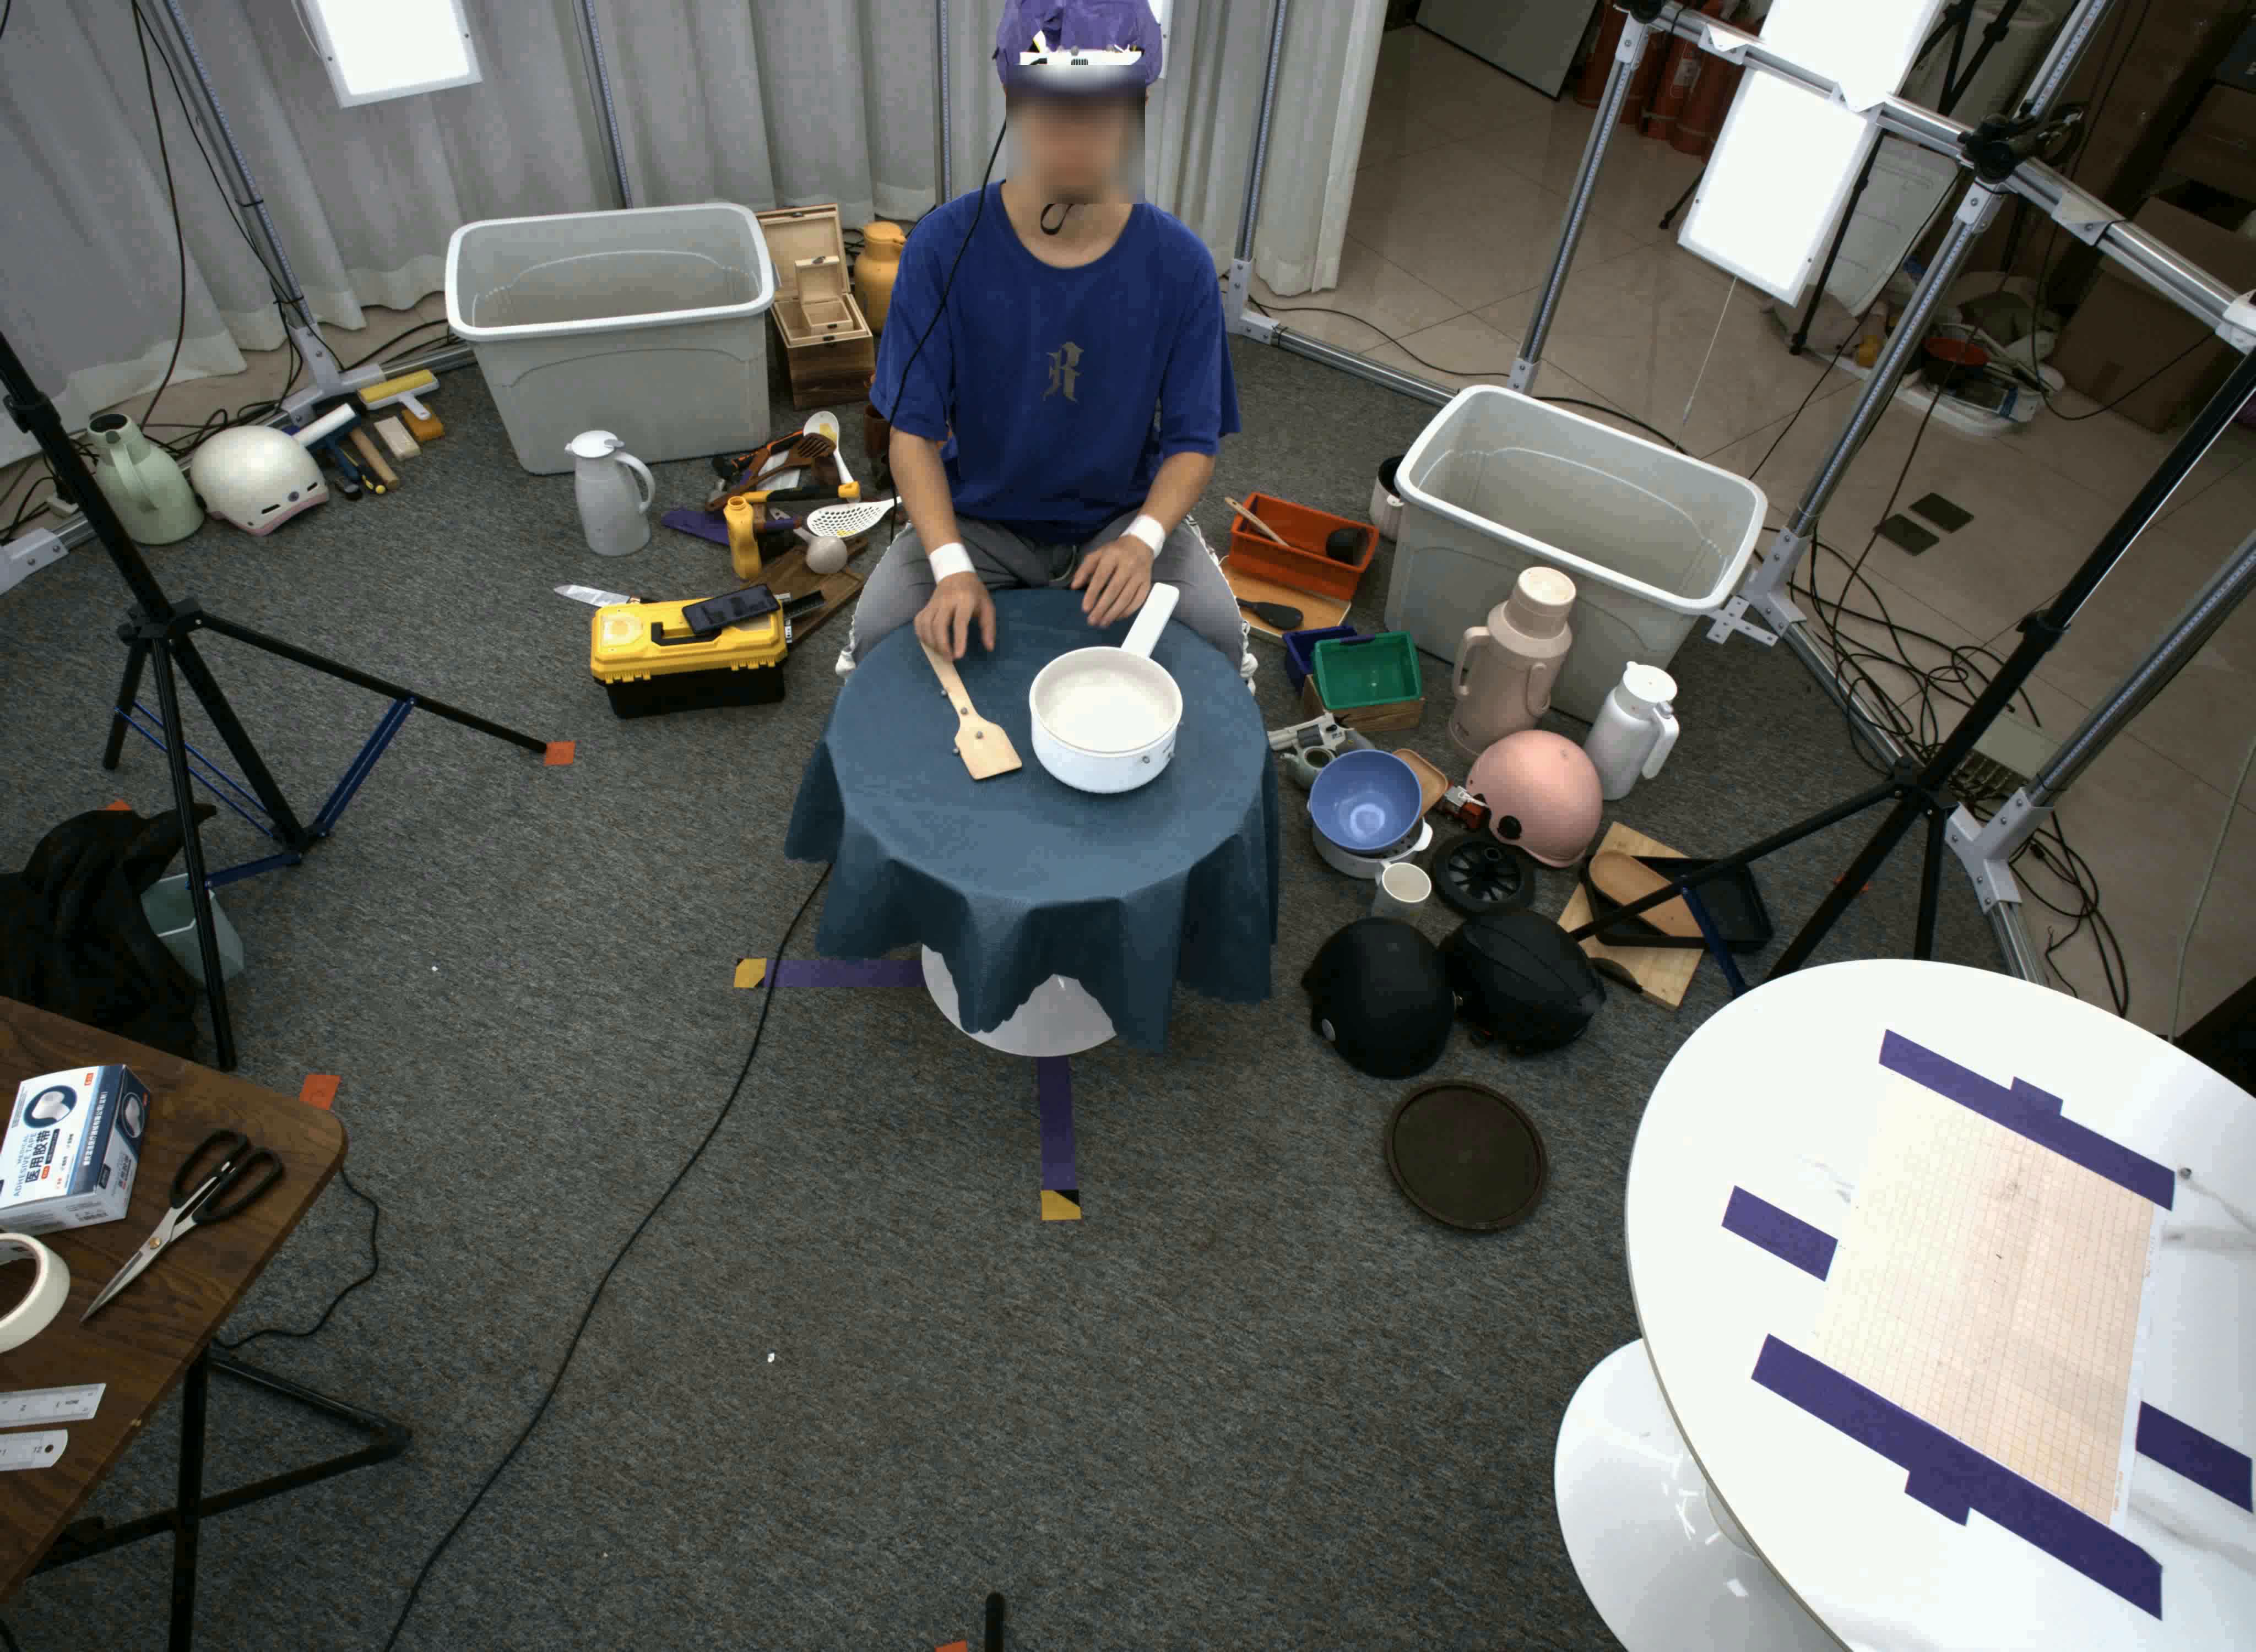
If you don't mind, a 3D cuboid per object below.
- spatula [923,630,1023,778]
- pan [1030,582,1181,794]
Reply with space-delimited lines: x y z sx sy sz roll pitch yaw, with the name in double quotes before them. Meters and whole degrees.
"spatula" -0.231 -0.177 1.805 0.072 0.010 0.300 -18 53 -16
"pan" -0.005 -0.193 1.776 0.202 0.099 0.362 16 51 12
